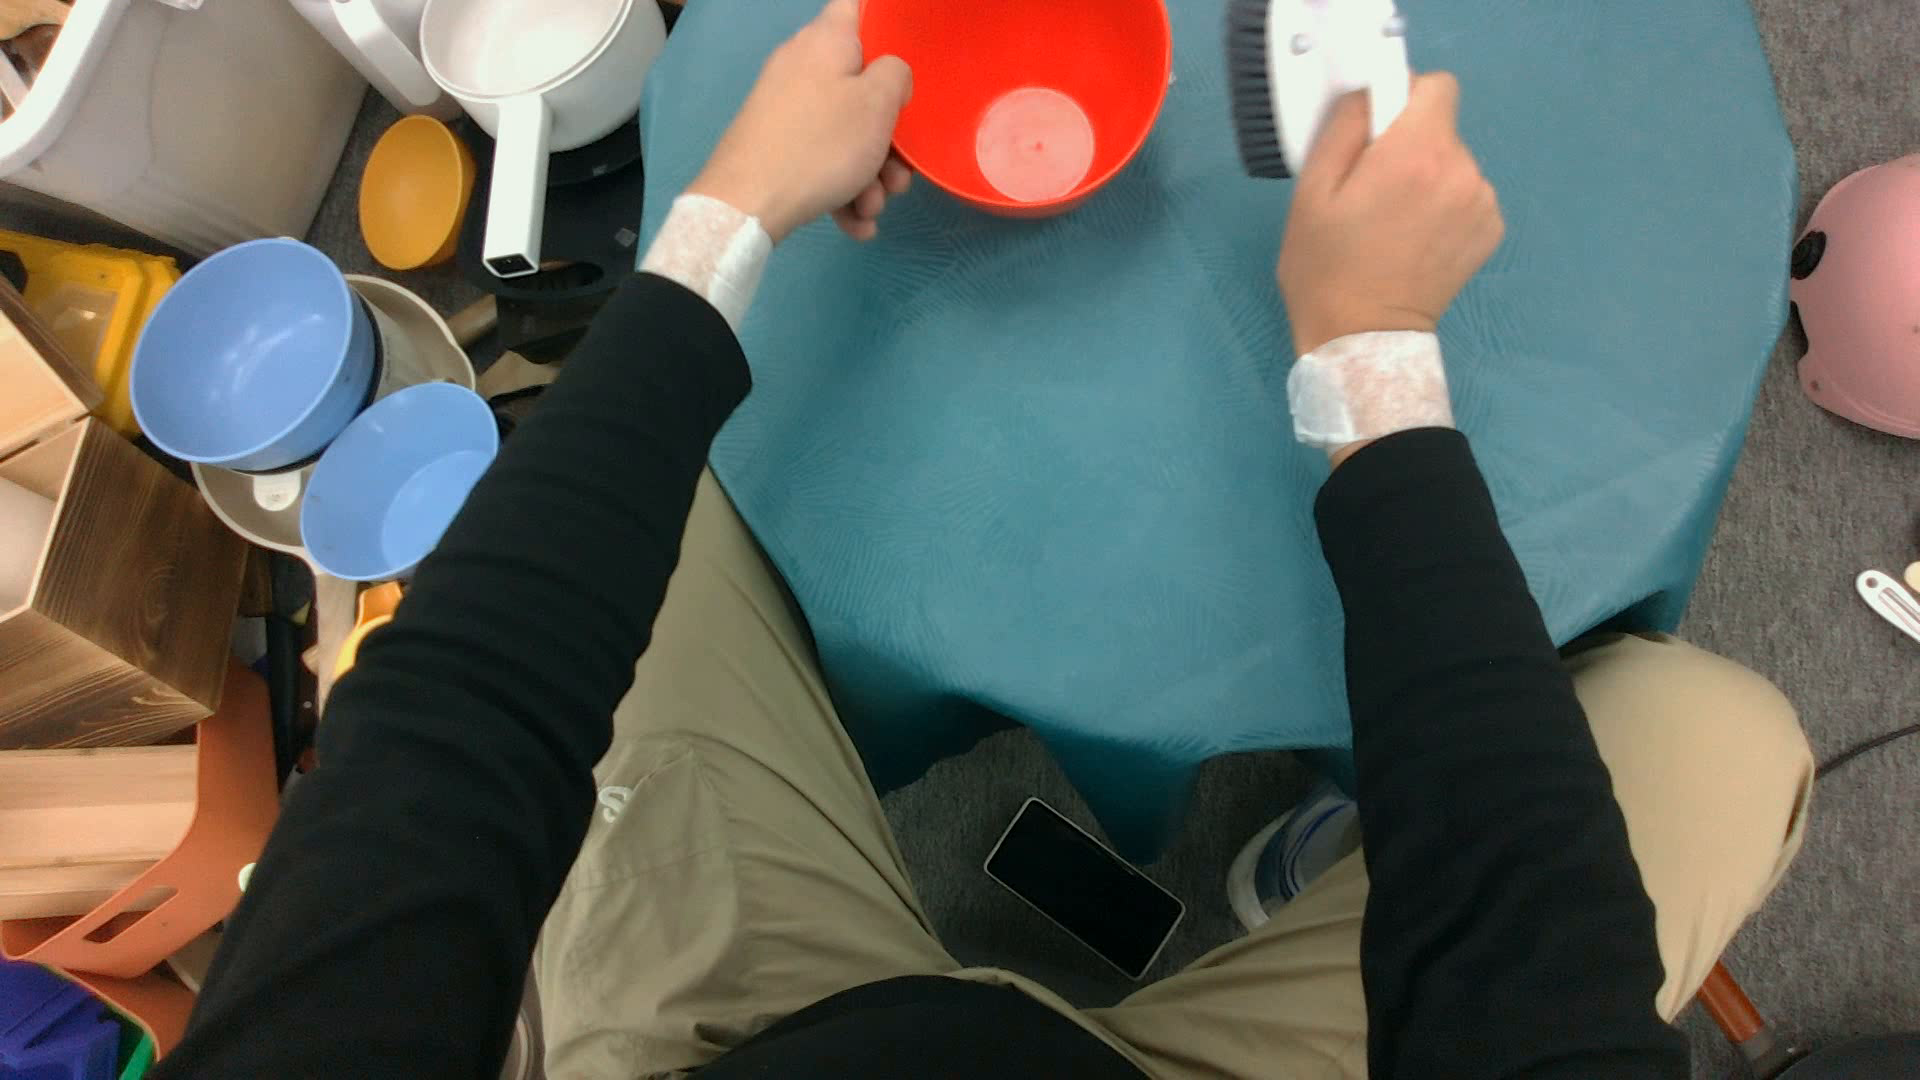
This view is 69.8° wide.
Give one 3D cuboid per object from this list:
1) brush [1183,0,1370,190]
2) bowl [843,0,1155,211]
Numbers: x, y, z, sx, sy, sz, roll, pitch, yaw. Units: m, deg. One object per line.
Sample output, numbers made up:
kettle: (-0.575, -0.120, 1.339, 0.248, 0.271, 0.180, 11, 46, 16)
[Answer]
brush: (0.145, -0.201, 0.600, 0.050, 0.099, 0.072, -35, 35, -22)
bowl: (0.022, -0.229, 0.691, 0.148, 0.104, 0.148, 0, 82, 3)
